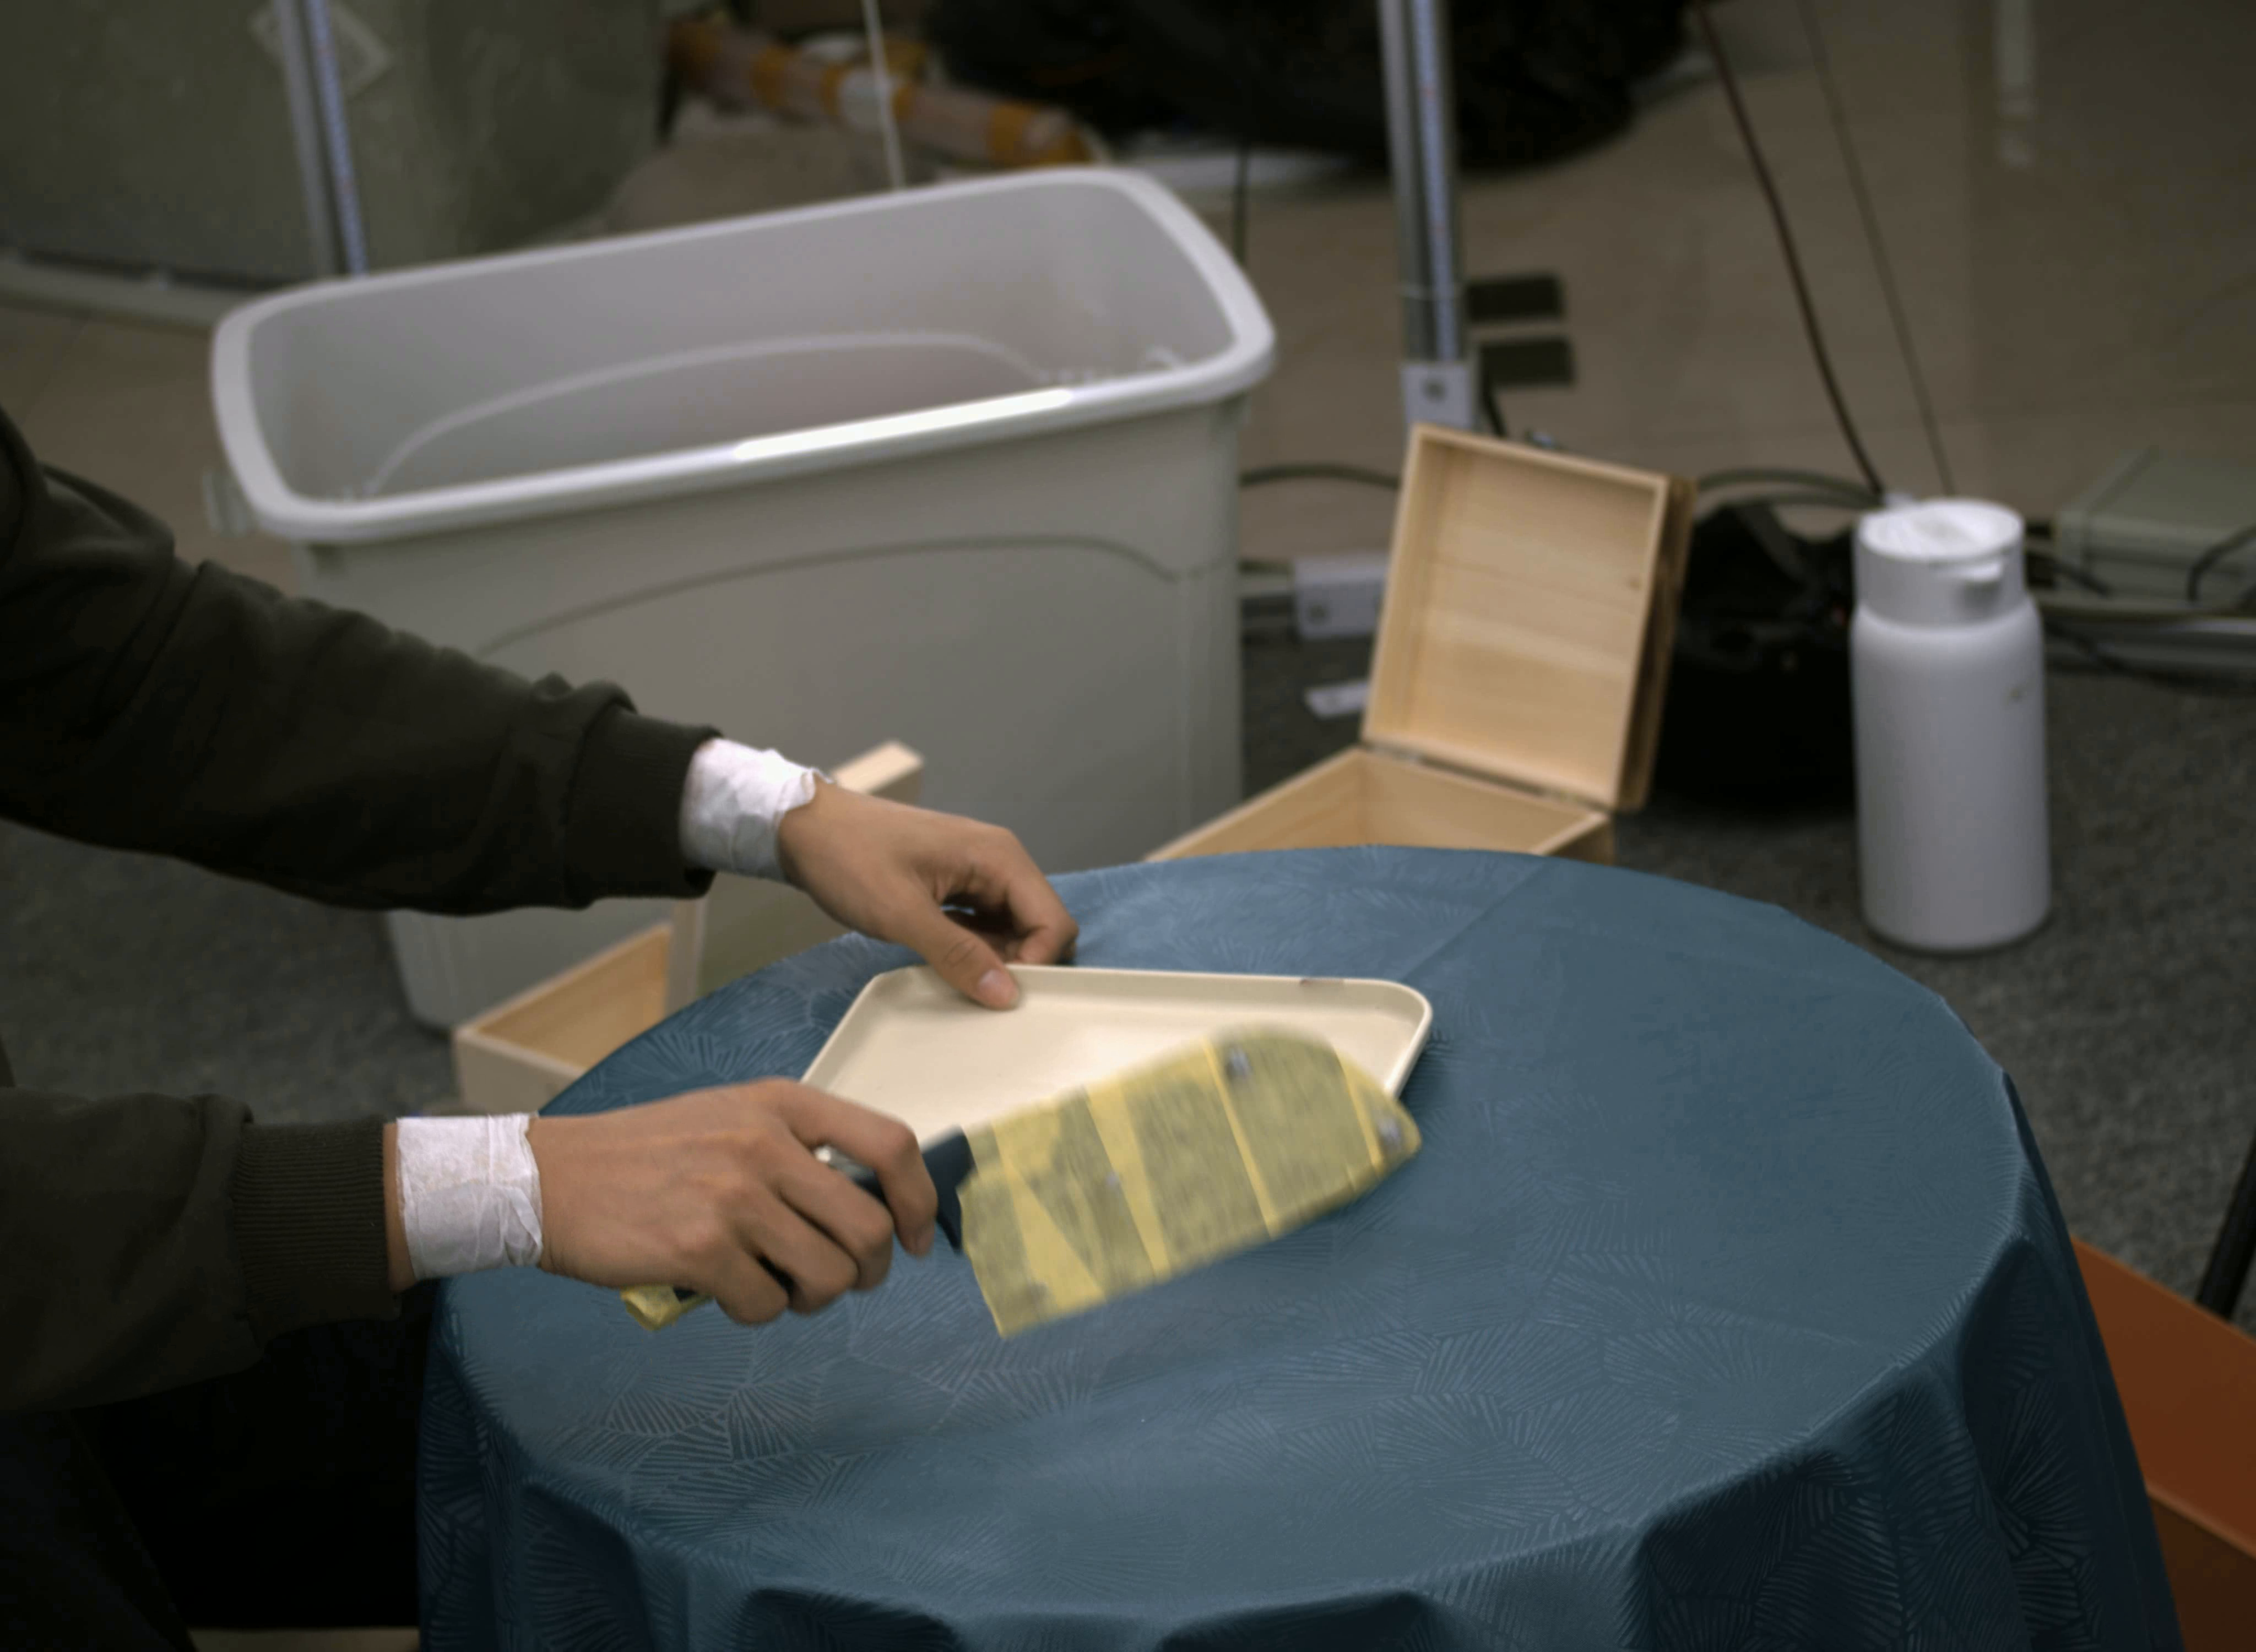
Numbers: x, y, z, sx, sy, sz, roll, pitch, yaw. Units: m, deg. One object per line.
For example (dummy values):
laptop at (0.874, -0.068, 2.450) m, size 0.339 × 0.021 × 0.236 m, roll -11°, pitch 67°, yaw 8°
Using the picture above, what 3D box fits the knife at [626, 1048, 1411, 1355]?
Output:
knife at (-0.035, 0.144, 2.005) m, size 0.288 × 0.081 × 0.027 m, roll -15°, pitch -5°, yaw -12°

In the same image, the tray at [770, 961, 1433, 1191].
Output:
tray at (-0.009, 0.101, 2.213) m, size 0.239 × 0.018 × 0.169 m, roll 2°, pitch 27°, yaw 17°
